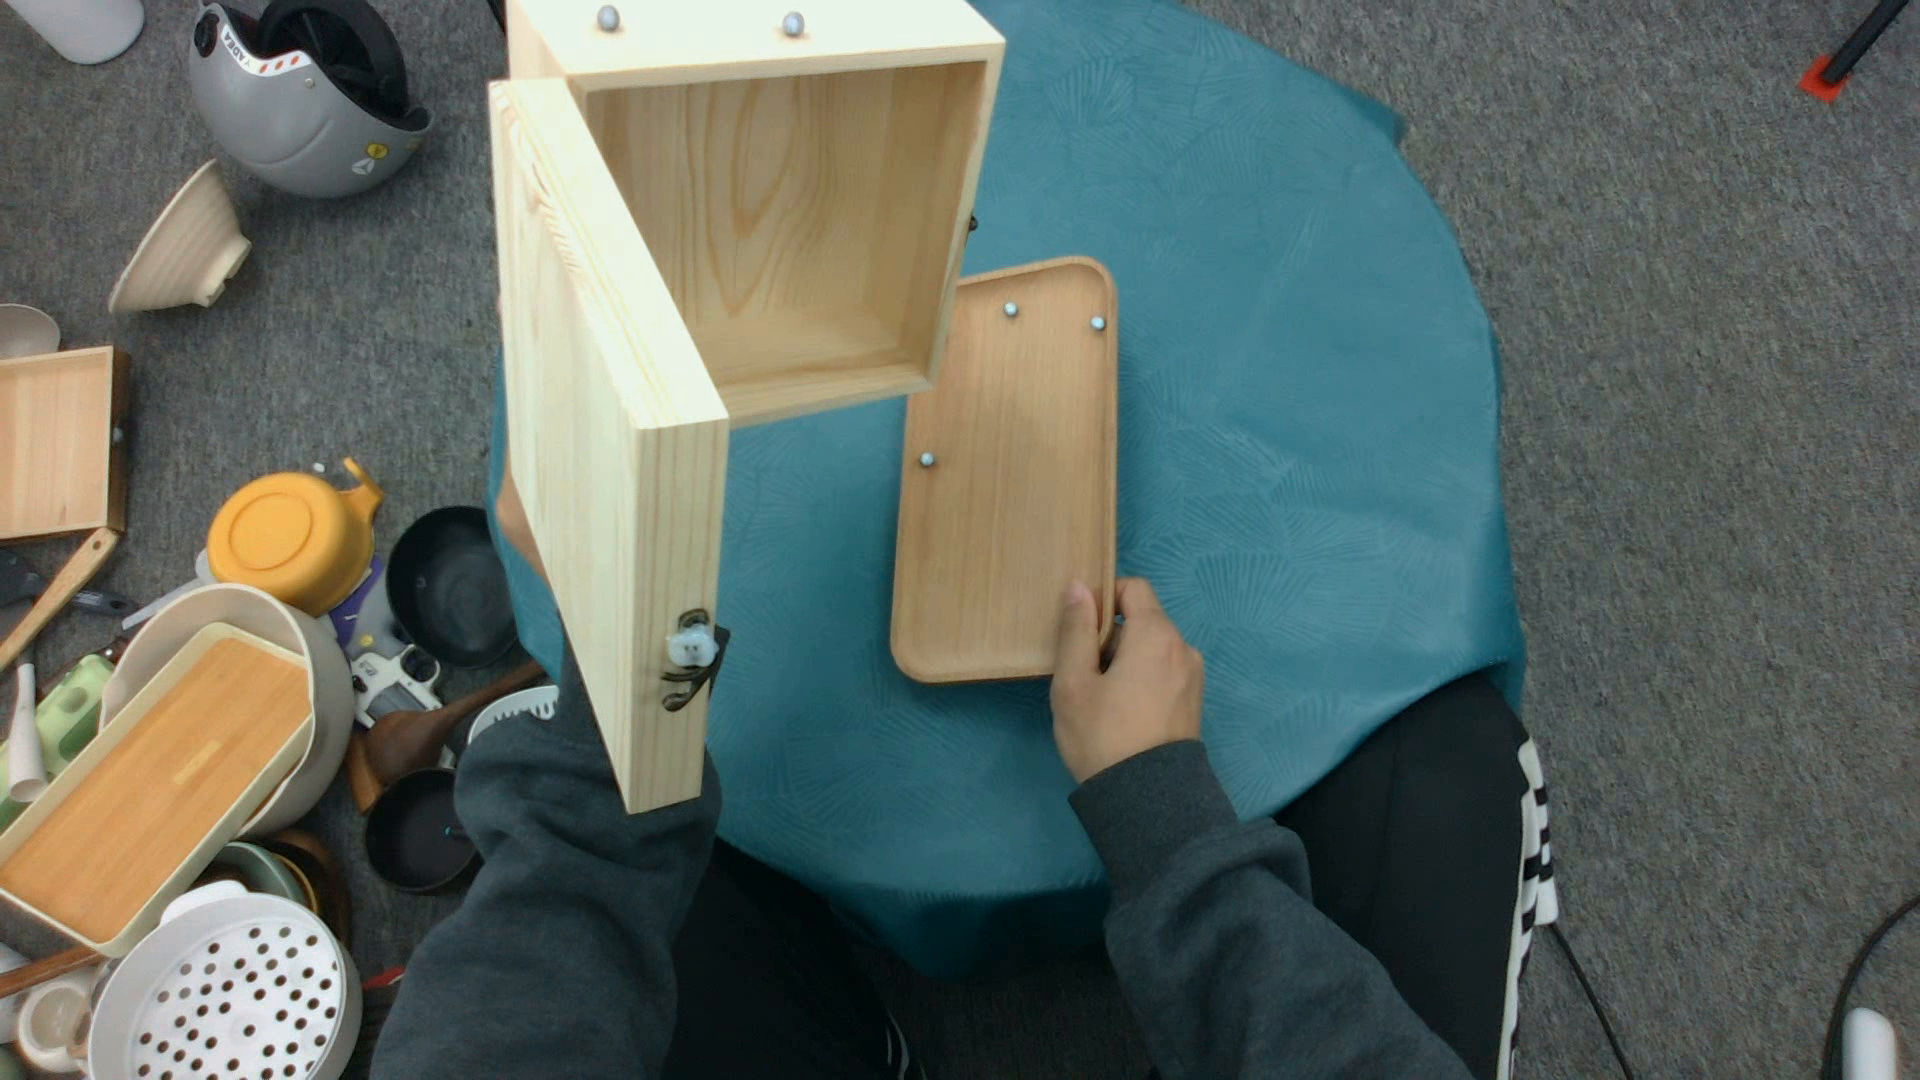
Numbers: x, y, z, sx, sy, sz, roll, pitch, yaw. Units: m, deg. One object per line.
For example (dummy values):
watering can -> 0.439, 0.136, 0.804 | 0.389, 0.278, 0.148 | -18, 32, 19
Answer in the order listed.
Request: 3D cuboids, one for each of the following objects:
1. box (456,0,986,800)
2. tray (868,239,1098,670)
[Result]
box -> -0.089, -0.083, 0.540 | 0.266, 0.181, 0.254 | -15, 54, -27
tray -> 0.015, -0.050, 0.762 | 0.130, 0.023, 0.251 | -8, 66, 25
